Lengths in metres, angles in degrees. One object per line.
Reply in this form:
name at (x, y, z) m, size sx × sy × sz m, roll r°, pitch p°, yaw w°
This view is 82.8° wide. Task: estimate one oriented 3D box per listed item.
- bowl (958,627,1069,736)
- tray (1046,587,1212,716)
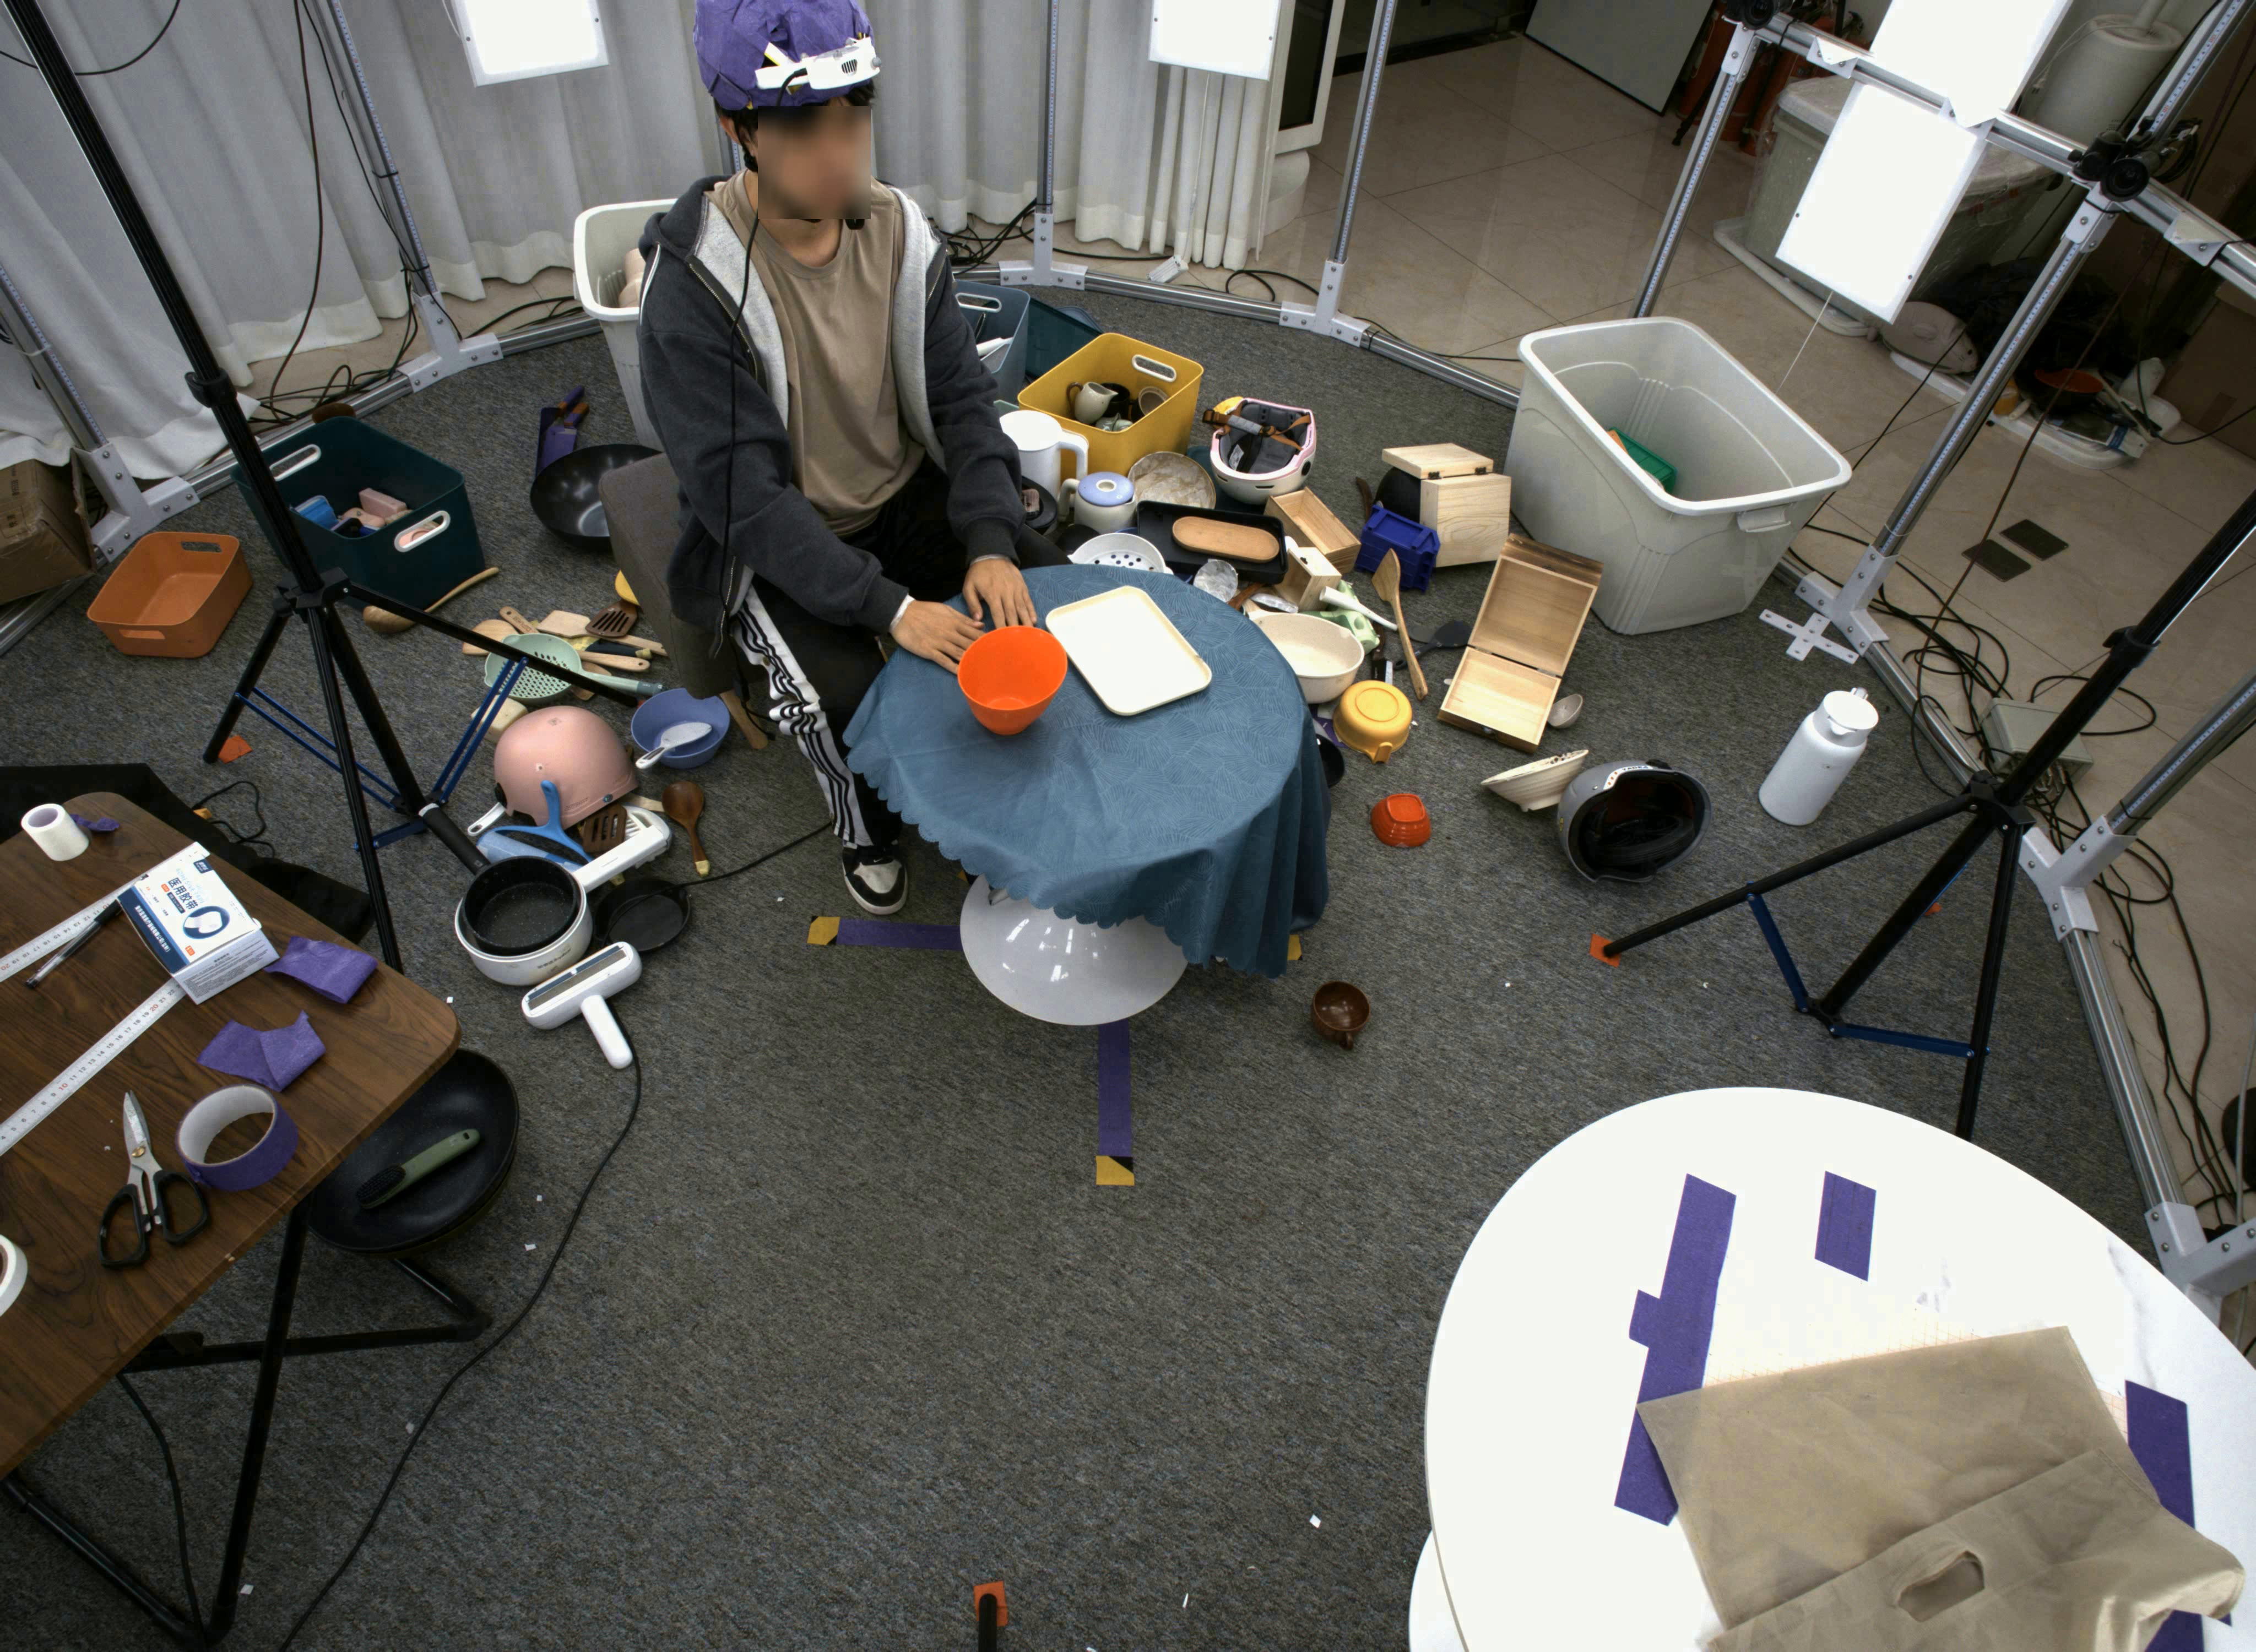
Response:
bowl at (-0.156, -0.186, 1.752) m, size 0.148 × 0.102 × 0.152 m, roll 3°, pitch 49°, yaw -4°
tray at (0.000, -0.257, 1.878) m, size 0.172 × 0.017 × 0.245 m, roll -22°, pitch 54°, yaw -20°
